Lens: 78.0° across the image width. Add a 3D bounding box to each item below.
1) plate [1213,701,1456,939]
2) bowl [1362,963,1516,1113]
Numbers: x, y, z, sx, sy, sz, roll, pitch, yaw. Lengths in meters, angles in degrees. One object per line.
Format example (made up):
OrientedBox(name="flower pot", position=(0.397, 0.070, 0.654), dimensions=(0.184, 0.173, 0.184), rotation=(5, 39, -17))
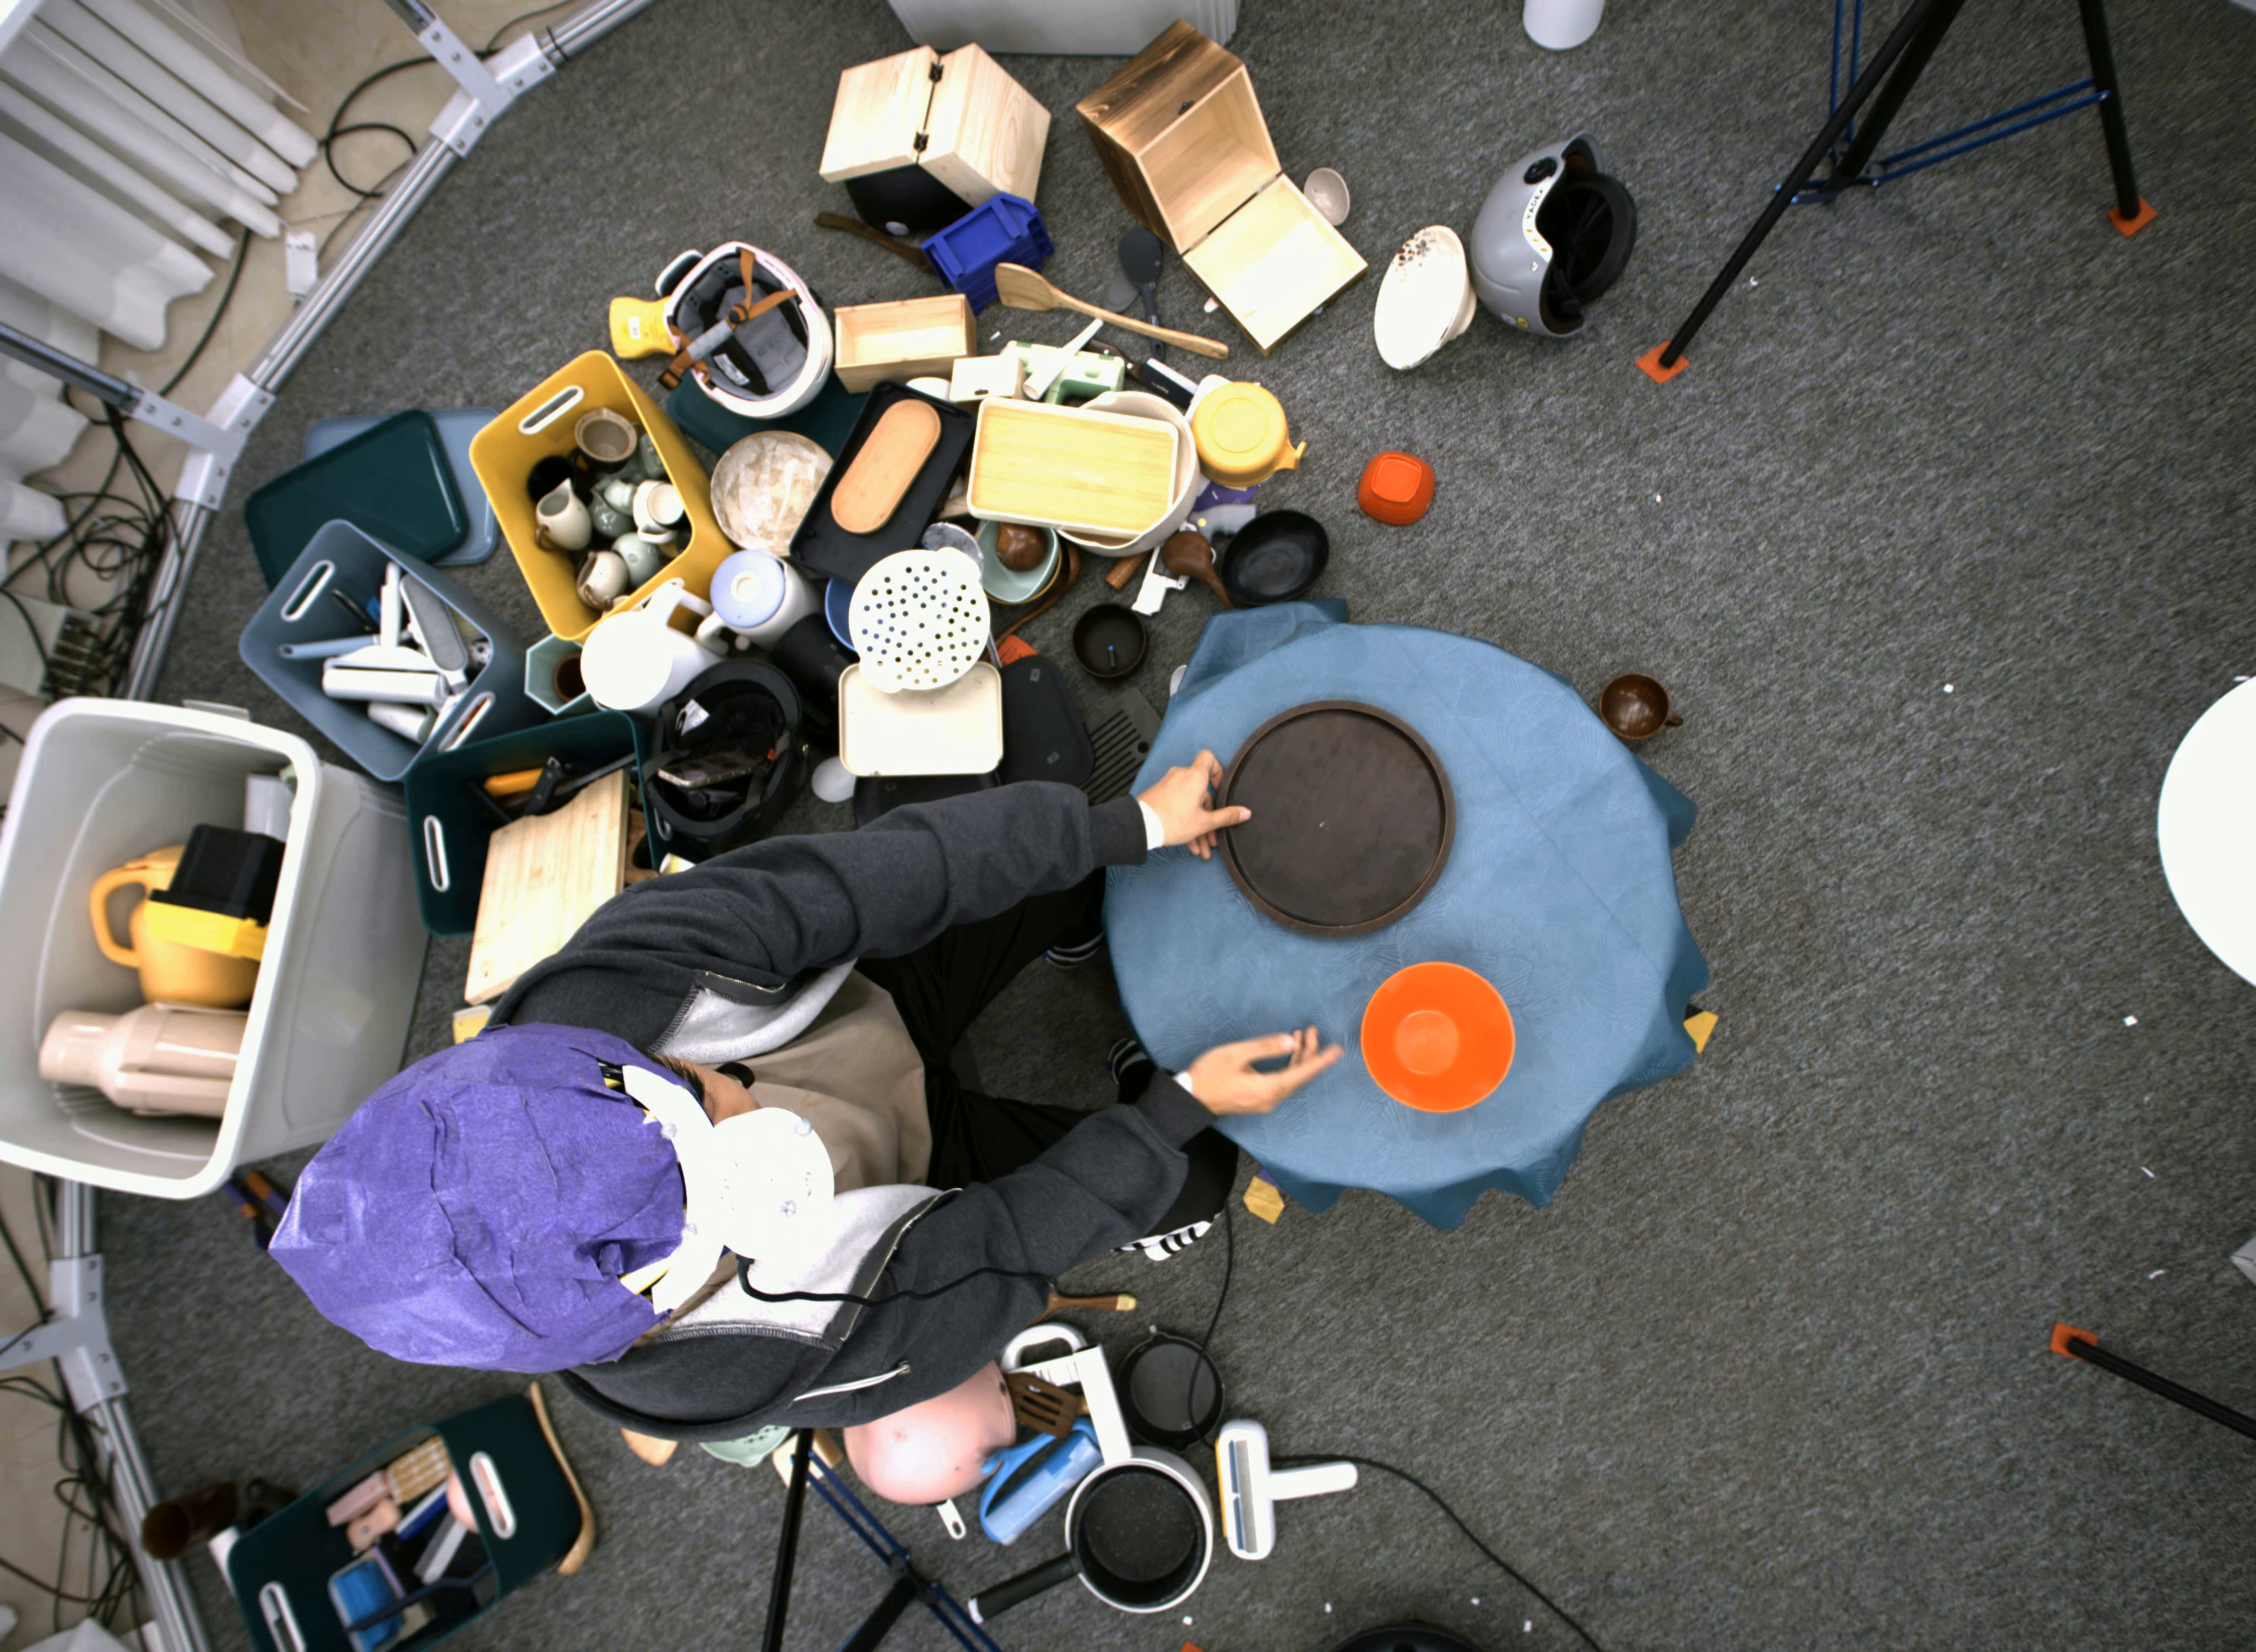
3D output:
OrientedBox(name="plate", position=(0.217, -0.008, 1.462), dimensions=(0.256, 0.029, 0.254), rotation=(-1, 88, 10))
OrientedBox(name="bowl", position=(0.310, 0.210, 1.393), dimensions=(0.148, 0.104, 0.147), rotation=(-1, 87, 9))
